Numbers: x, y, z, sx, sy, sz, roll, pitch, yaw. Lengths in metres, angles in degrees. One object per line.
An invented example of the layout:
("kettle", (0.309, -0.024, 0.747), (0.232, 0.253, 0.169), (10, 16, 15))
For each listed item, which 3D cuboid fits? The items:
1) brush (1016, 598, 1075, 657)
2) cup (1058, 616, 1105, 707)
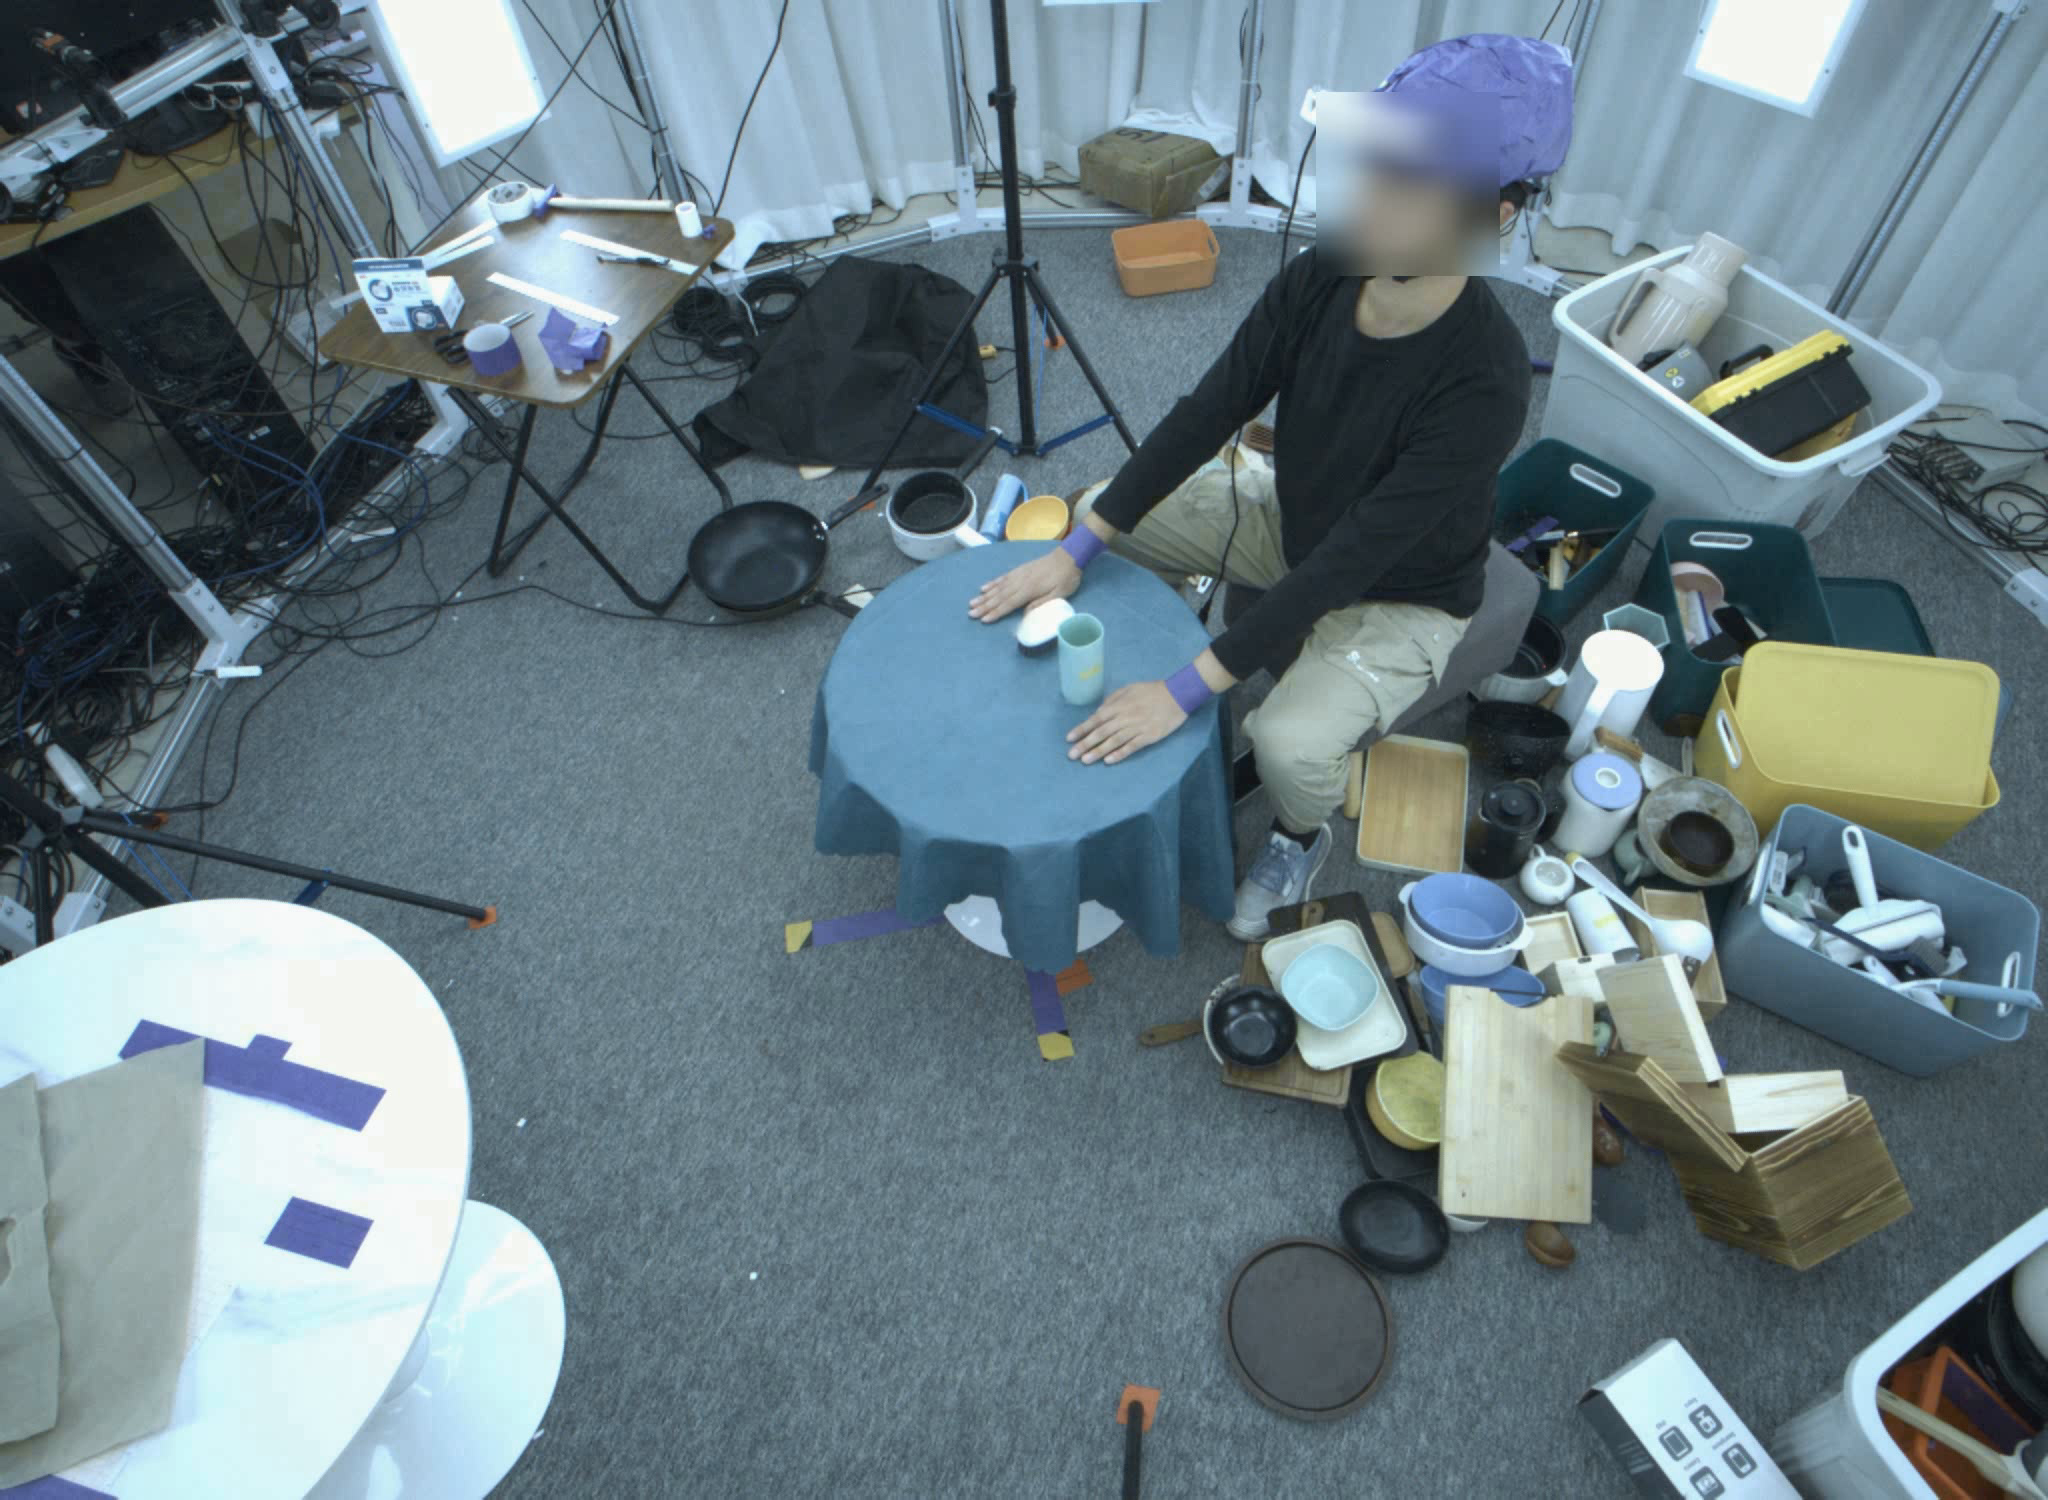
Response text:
("brush", (0.033, -0.196, 1.882), (0.100, 0.073, 0.049), (-30, 59, -16))
("cup", (0.085, -0.129, 1.802), (0.066, 0.134, 0.066), (-2, 54, 4))
